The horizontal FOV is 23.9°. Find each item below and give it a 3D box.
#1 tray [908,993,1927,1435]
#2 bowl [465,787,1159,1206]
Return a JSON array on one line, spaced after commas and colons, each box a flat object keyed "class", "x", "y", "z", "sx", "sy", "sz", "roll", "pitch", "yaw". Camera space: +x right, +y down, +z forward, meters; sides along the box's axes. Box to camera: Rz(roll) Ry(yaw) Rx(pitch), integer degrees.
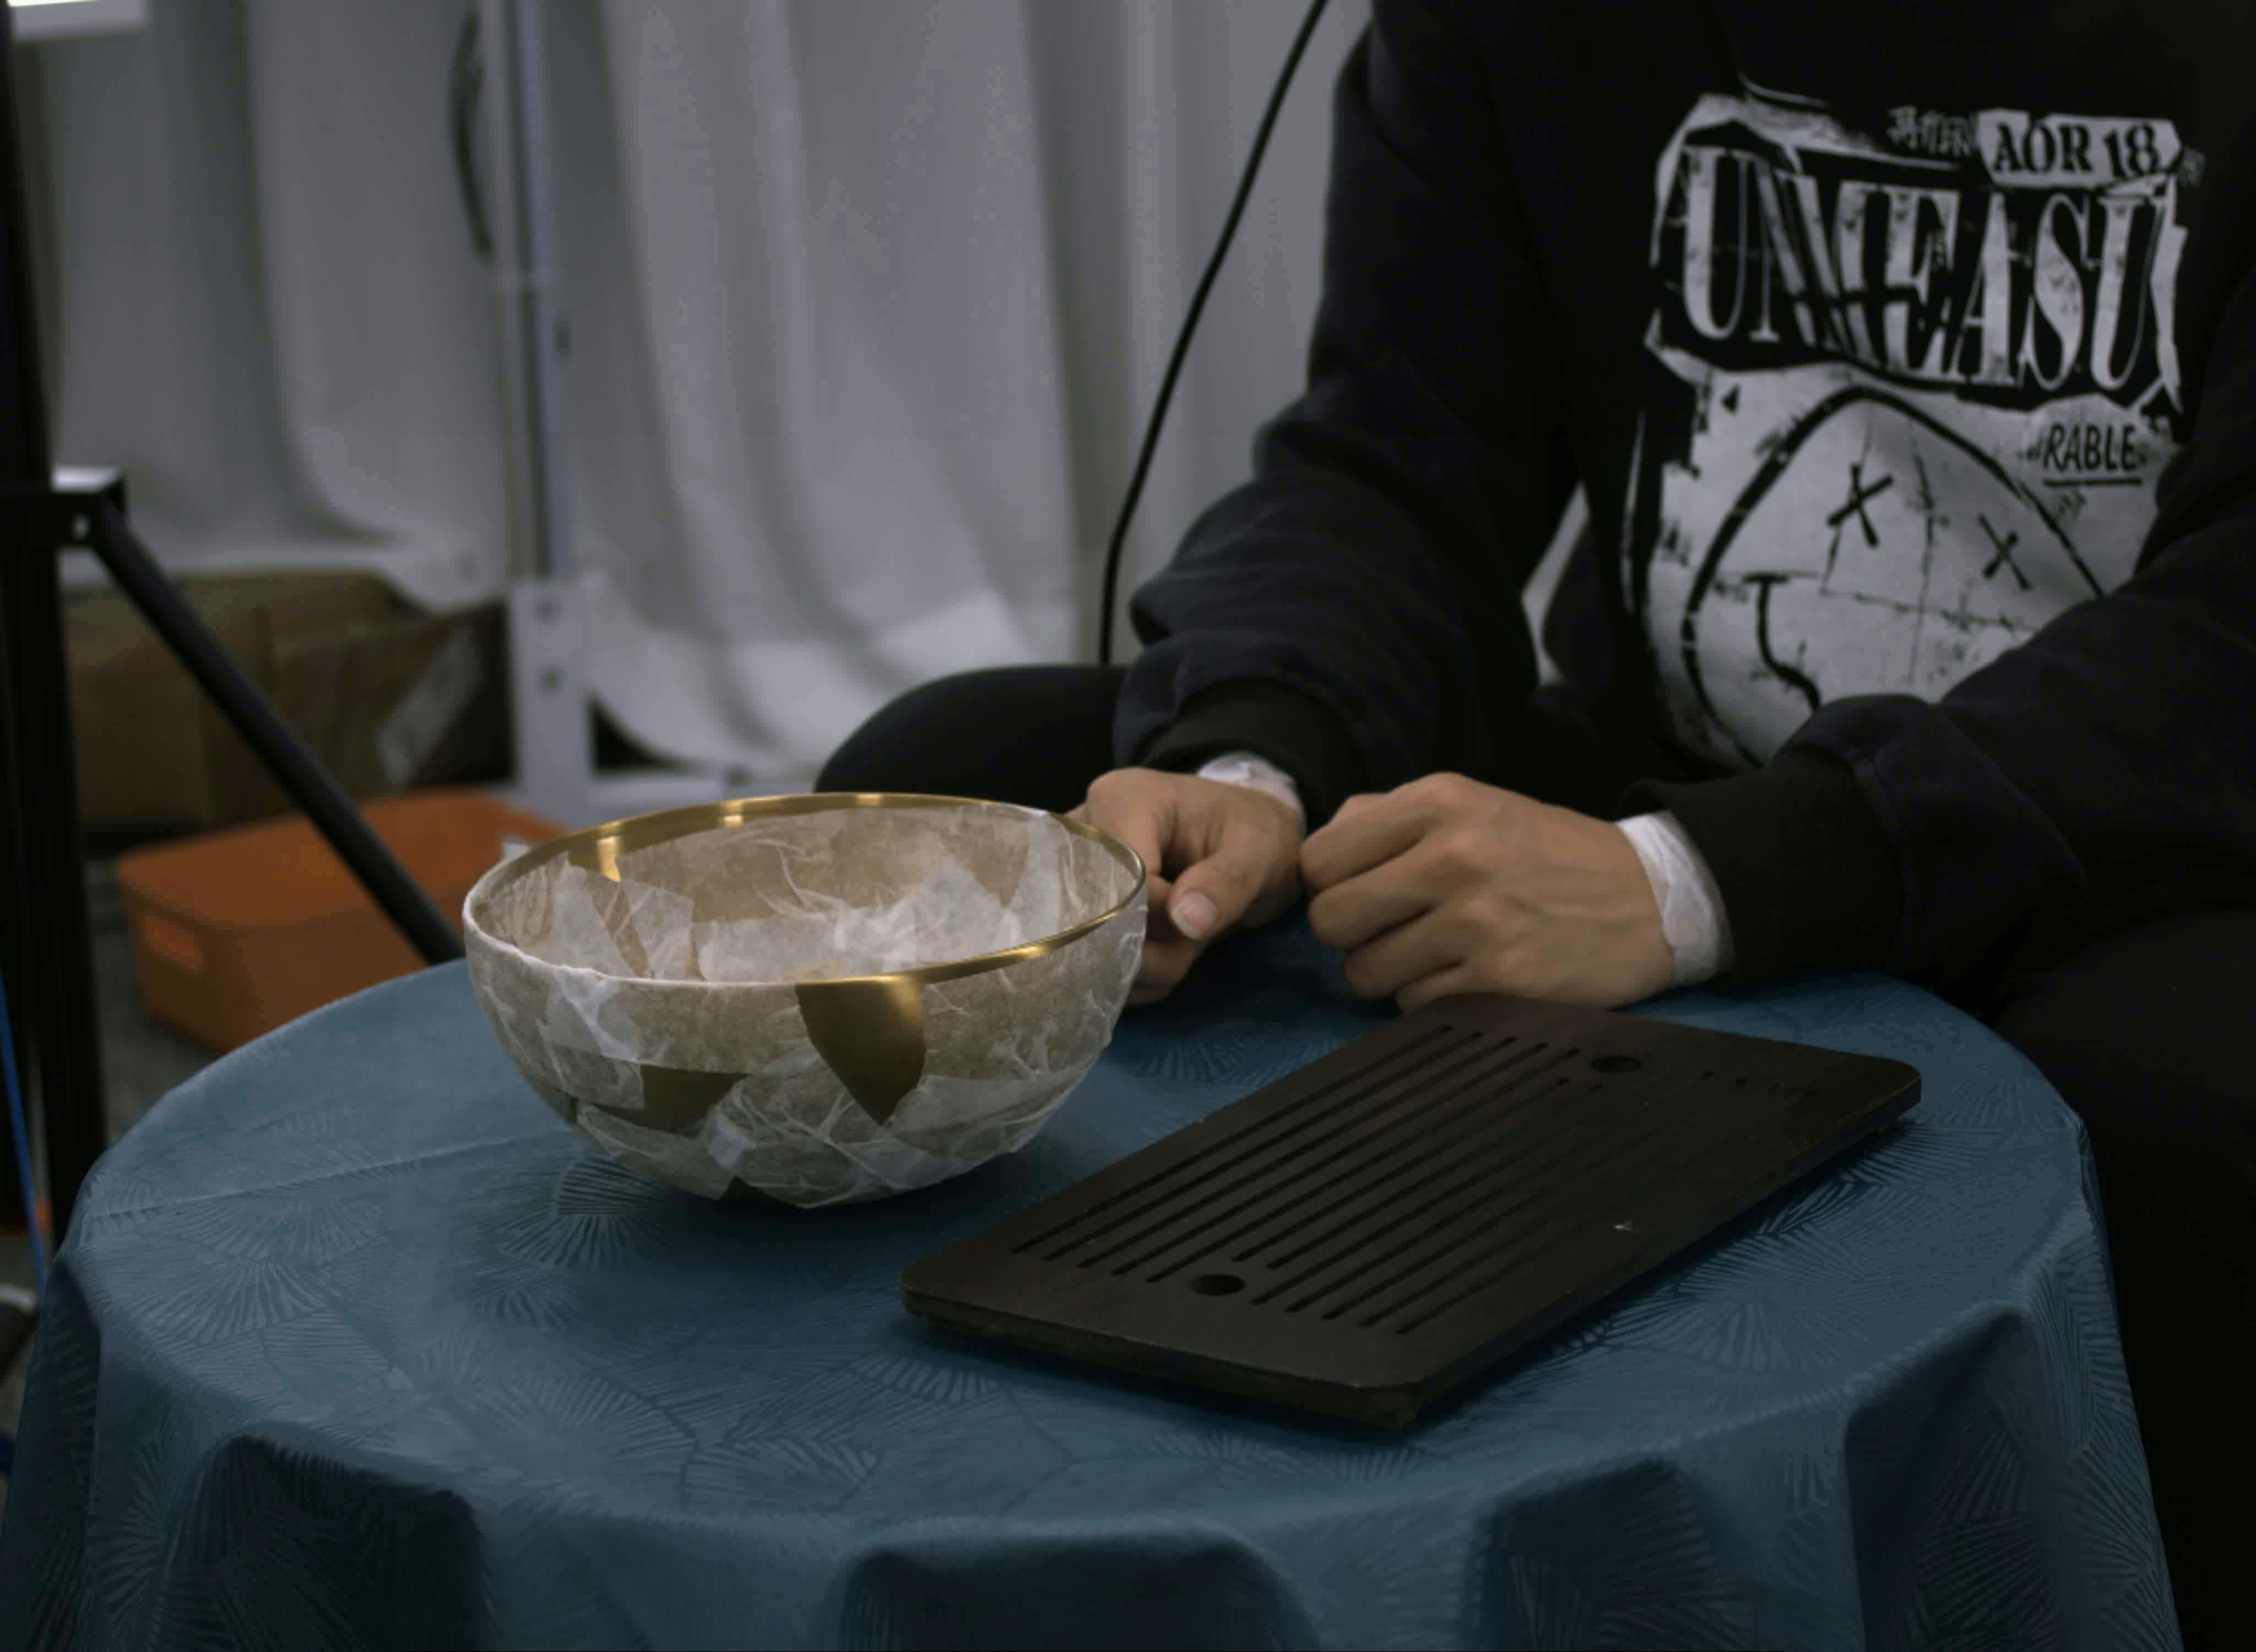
[{"class": "tray", "x": 0.089, "y": 0.107, "z": 1.514, "sx": 0.173, "sy": 0.018, "sz": 0.300, "roll": 9, "pitch": 19, "yaw": 35}, {"class": "bowl", "x": -0.088, "y": 0.058, "z": 1.579, "sx": 0.213, "sy": 0.094, "sz": 0.216, "roll": -4, "pitch": 15, "yaw": 0}]
